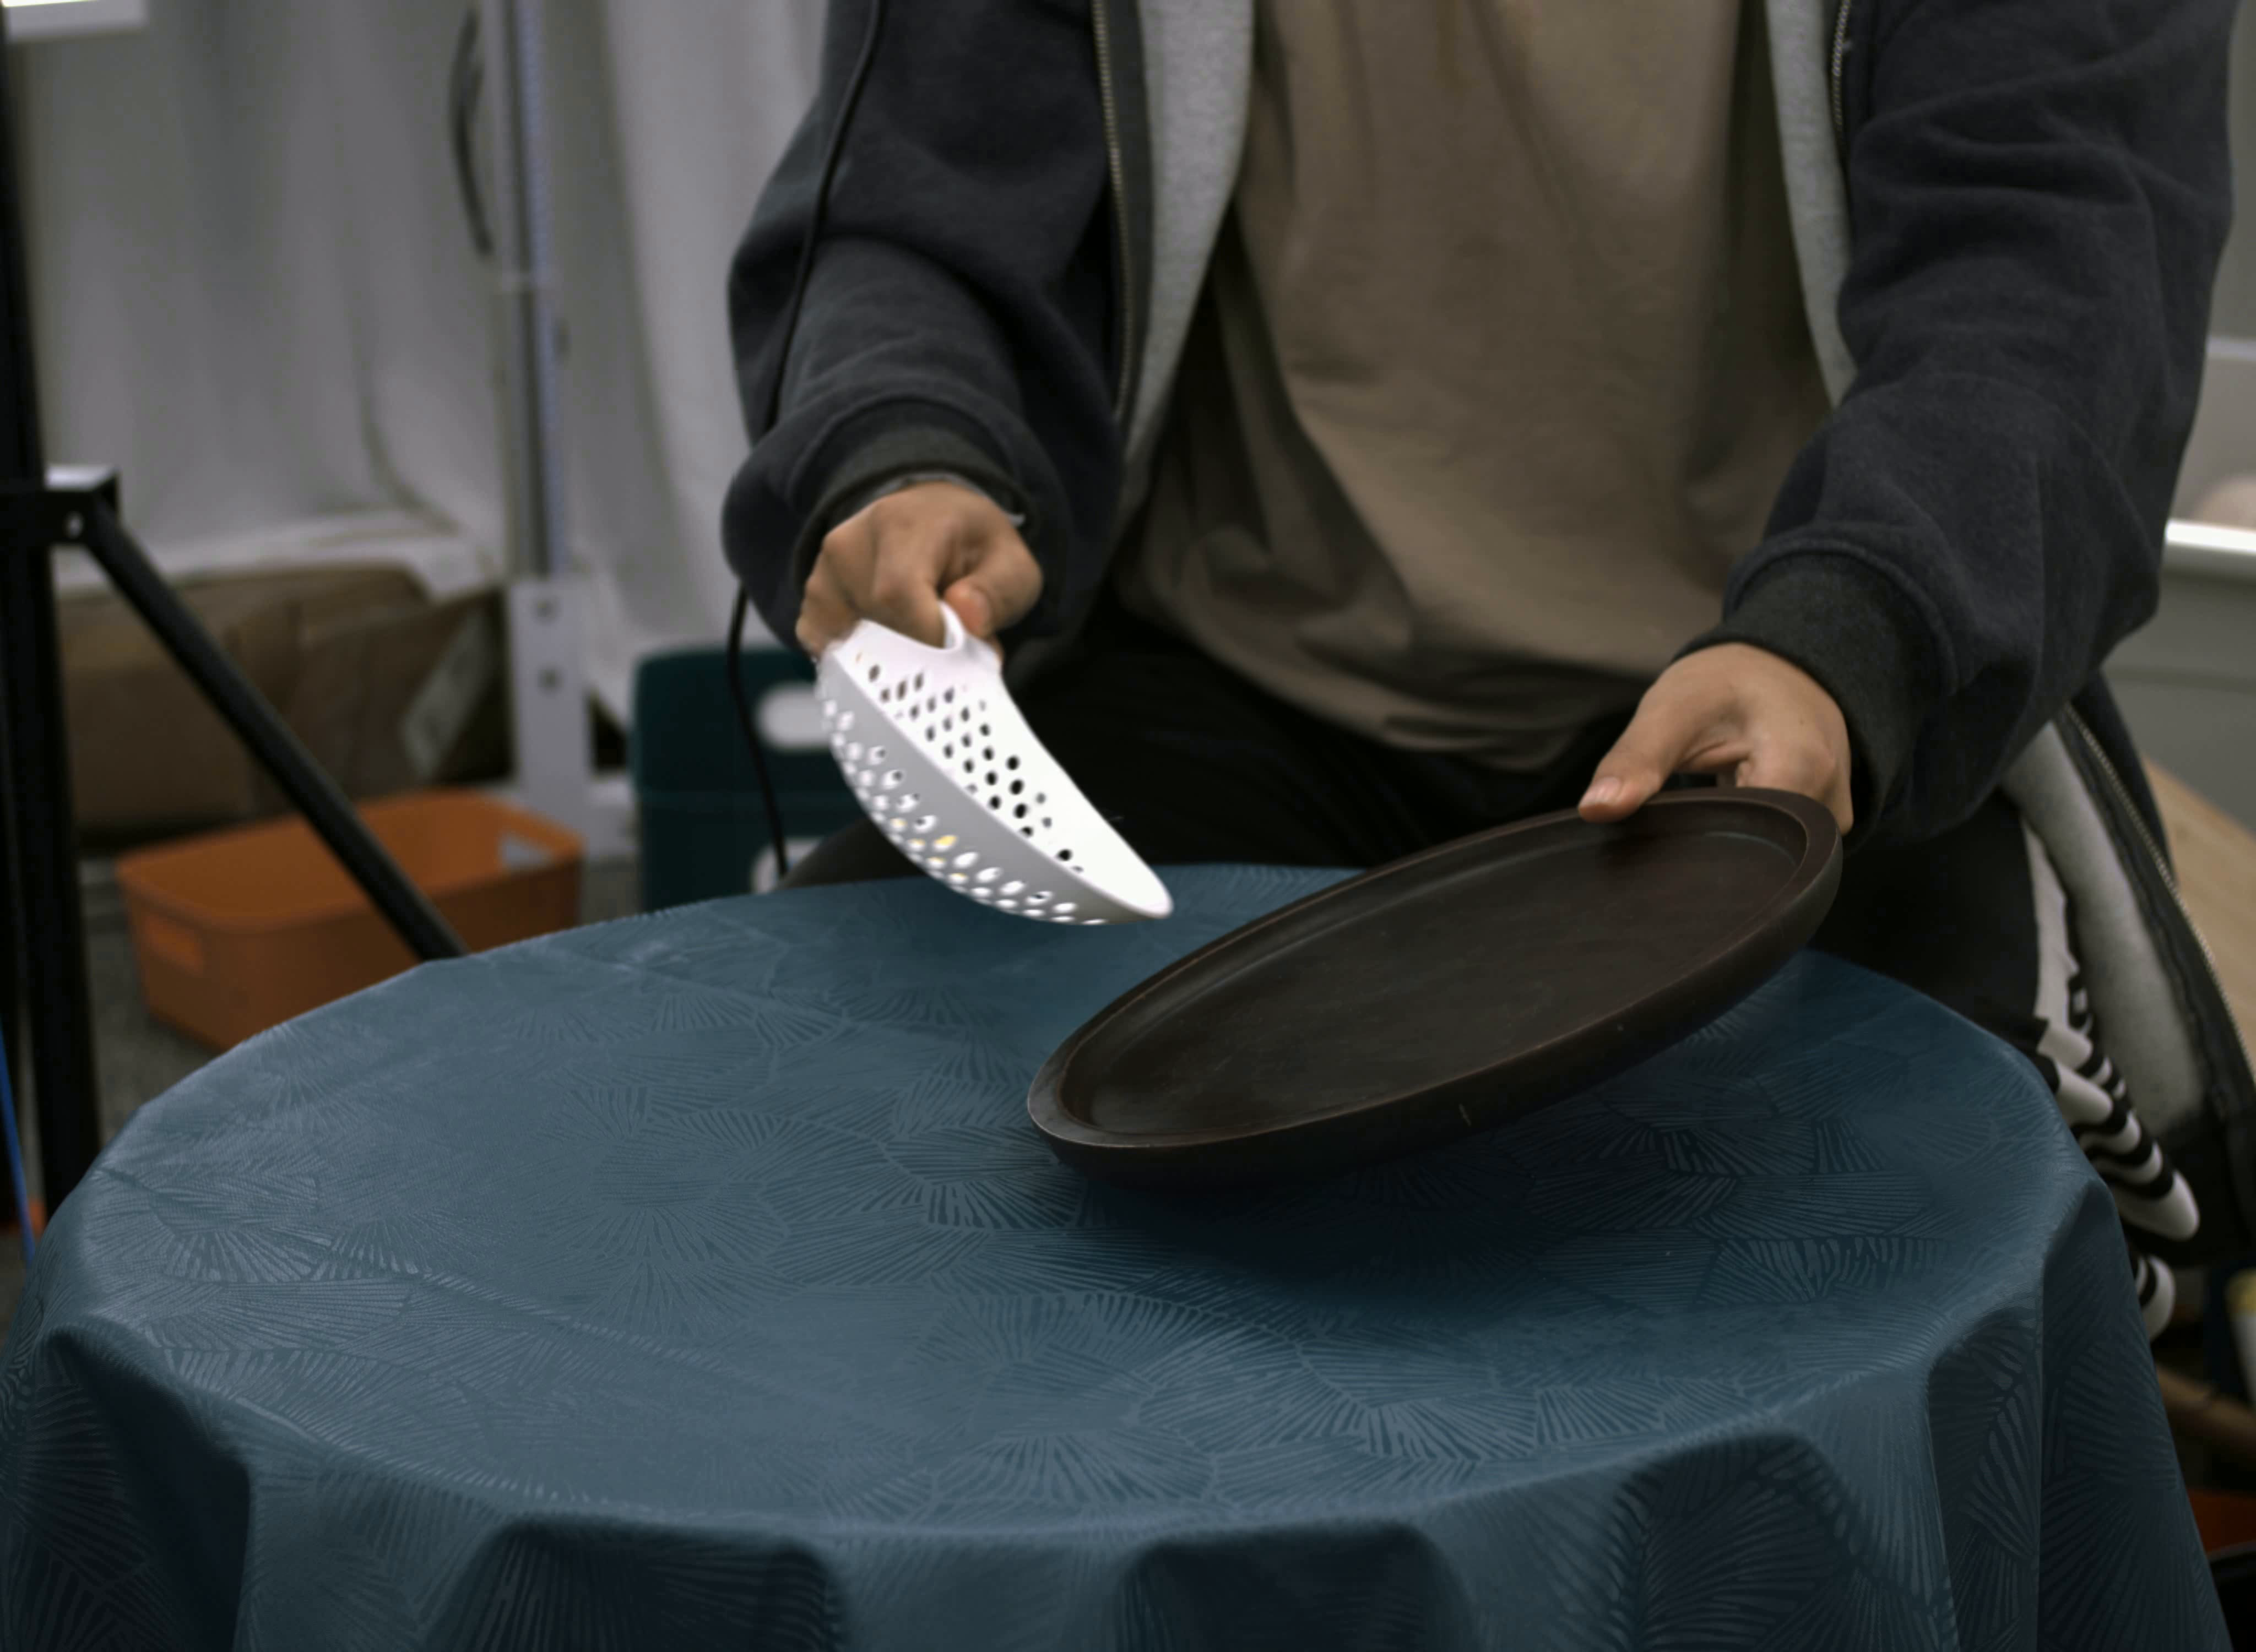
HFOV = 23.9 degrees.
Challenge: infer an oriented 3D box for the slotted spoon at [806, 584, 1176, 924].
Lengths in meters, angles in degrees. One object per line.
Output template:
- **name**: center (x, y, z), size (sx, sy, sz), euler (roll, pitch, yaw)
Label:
- **slotted spoon**: center (-0.057, -0.038, 1.661), size (0.135, 0.050, 0.350), euler (37, 12, -12)

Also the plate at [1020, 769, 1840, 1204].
- **plate**: center (0.090, 0.050, 1.561), size (0.254, 0.029, 0.256), euler (-21, 13, 3)
